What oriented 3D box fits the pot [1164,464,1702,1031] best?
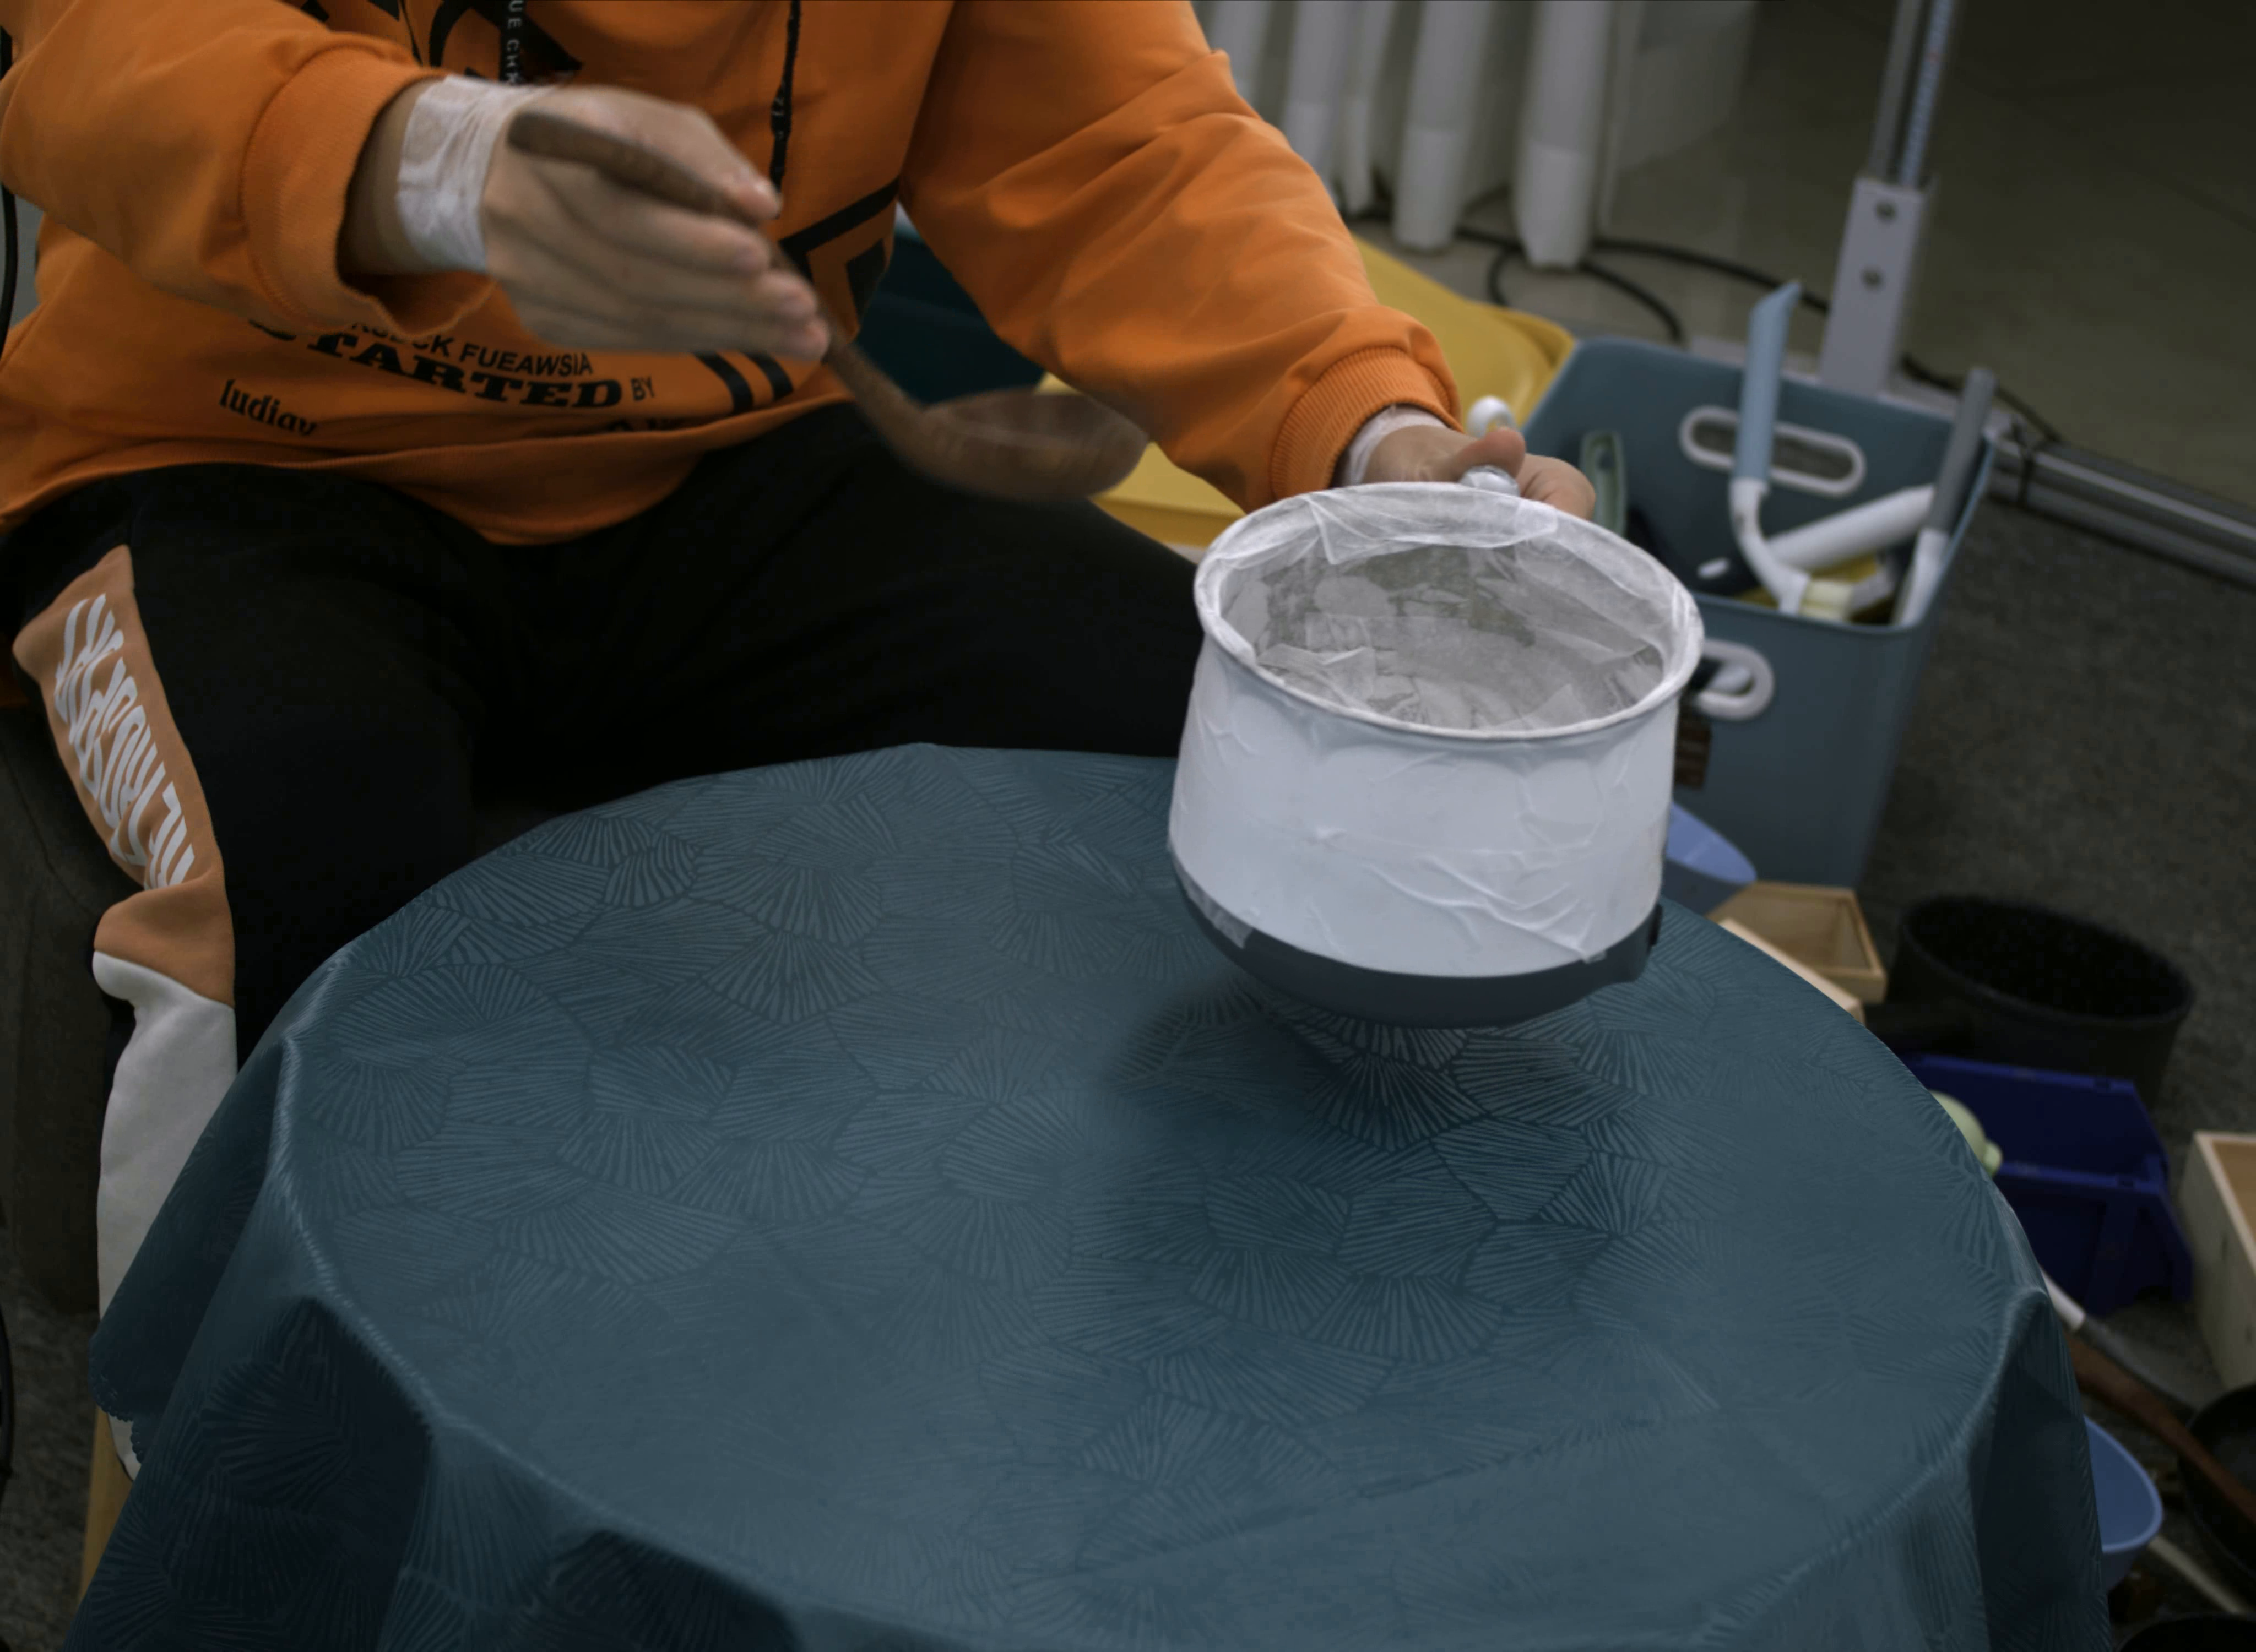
[{"bbox_3d":[0.108,-0.036,1.888,0.178,0.136,0.235,10,31,6],"label":"pot"}]

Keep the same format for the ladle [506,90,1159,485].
[{"bbox_3d":[-0.090,-0.179,1.689,0.258,0.065,0.077,37,-14,-36],"label":"ladle"}]
